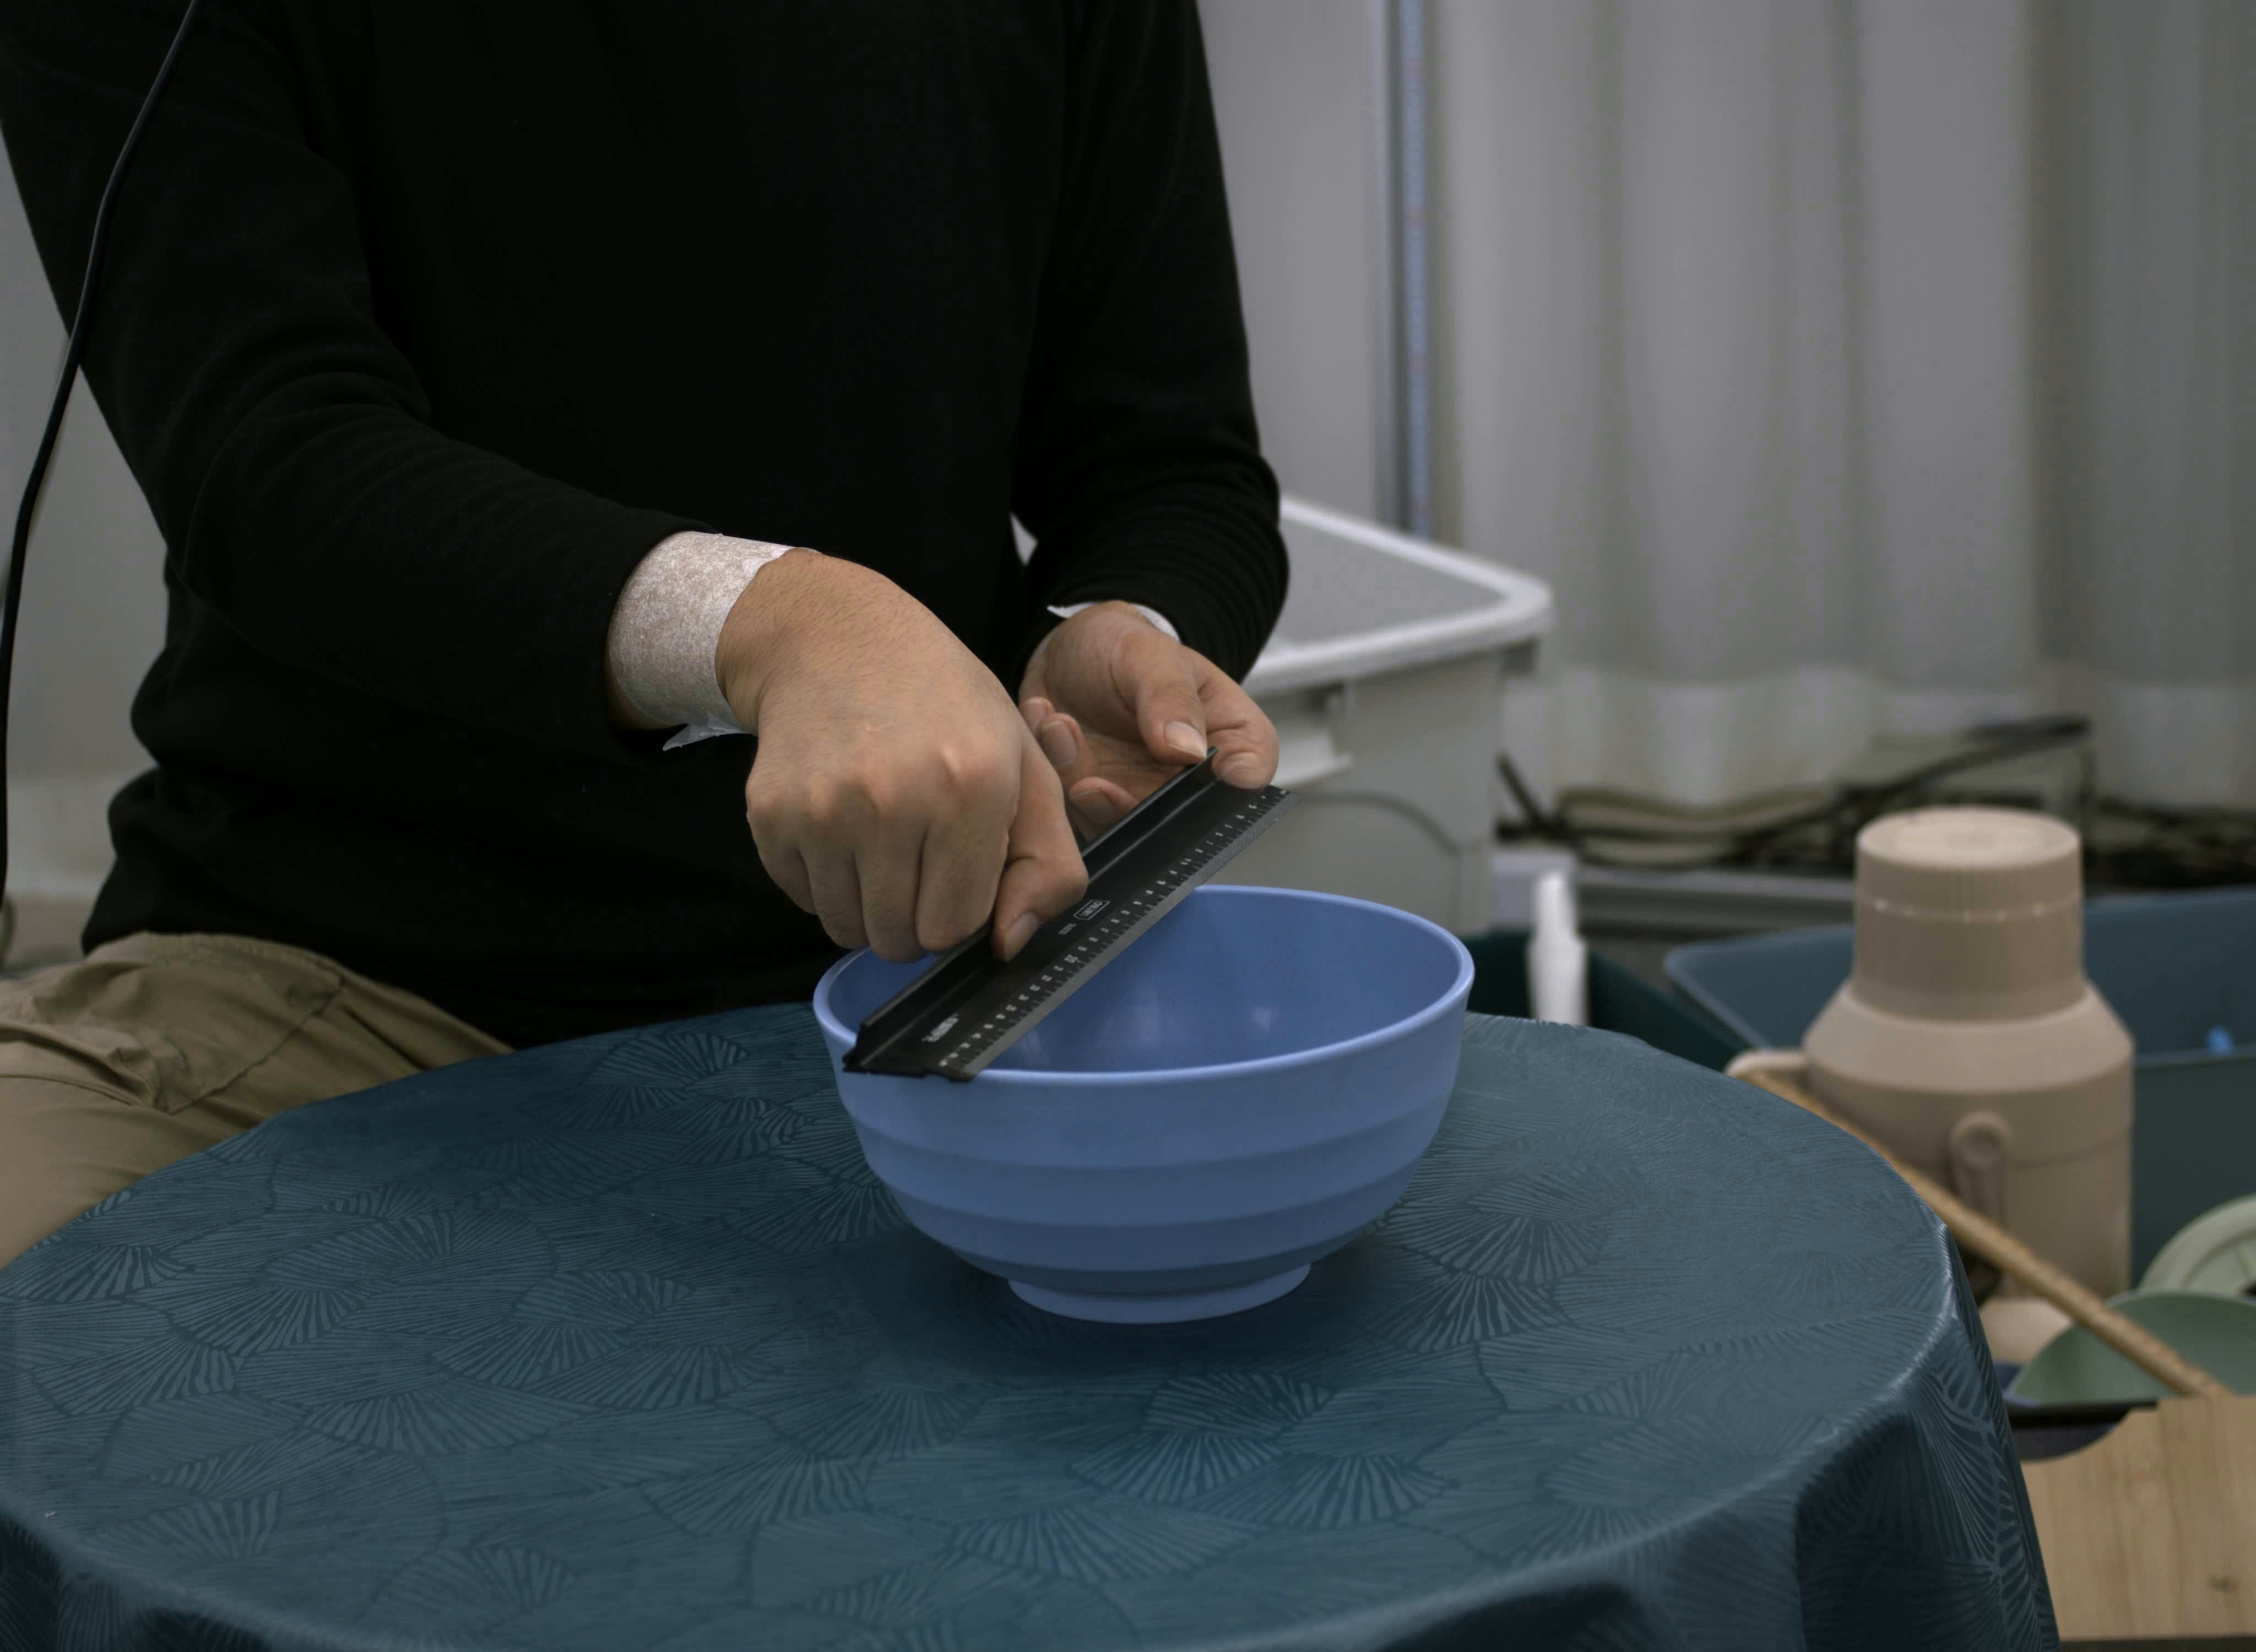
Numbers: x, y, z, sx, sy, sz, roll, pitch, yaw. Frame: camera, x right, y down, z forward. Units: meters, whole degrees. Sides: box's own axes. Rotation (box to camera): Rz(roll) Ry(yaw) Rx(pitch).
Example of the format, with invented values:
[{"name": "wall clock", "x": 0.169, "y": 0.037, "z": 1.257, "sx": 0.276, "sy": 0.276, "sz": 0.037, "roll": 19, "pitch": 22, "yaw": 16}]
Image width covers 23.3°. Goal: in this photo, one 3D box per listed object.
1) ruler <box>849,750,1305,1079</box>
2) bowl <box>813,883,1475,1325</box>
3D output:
[{"name": "ruler", "x": -0.010, "y": 0.023, "z": 1.668, "sx": 0.039, "sy": 0.017, "sz": 0.313, "roll": 9, "pitch": 18, "yaw": 18}, {"name": "bowl", "x": 0.006, "y": 0.089, "z": 1.627, "sx": 0.196, "sy": 0.095, "sz": 0.198, "roll": -2, "pitch": 15, "yaw": 0}]
